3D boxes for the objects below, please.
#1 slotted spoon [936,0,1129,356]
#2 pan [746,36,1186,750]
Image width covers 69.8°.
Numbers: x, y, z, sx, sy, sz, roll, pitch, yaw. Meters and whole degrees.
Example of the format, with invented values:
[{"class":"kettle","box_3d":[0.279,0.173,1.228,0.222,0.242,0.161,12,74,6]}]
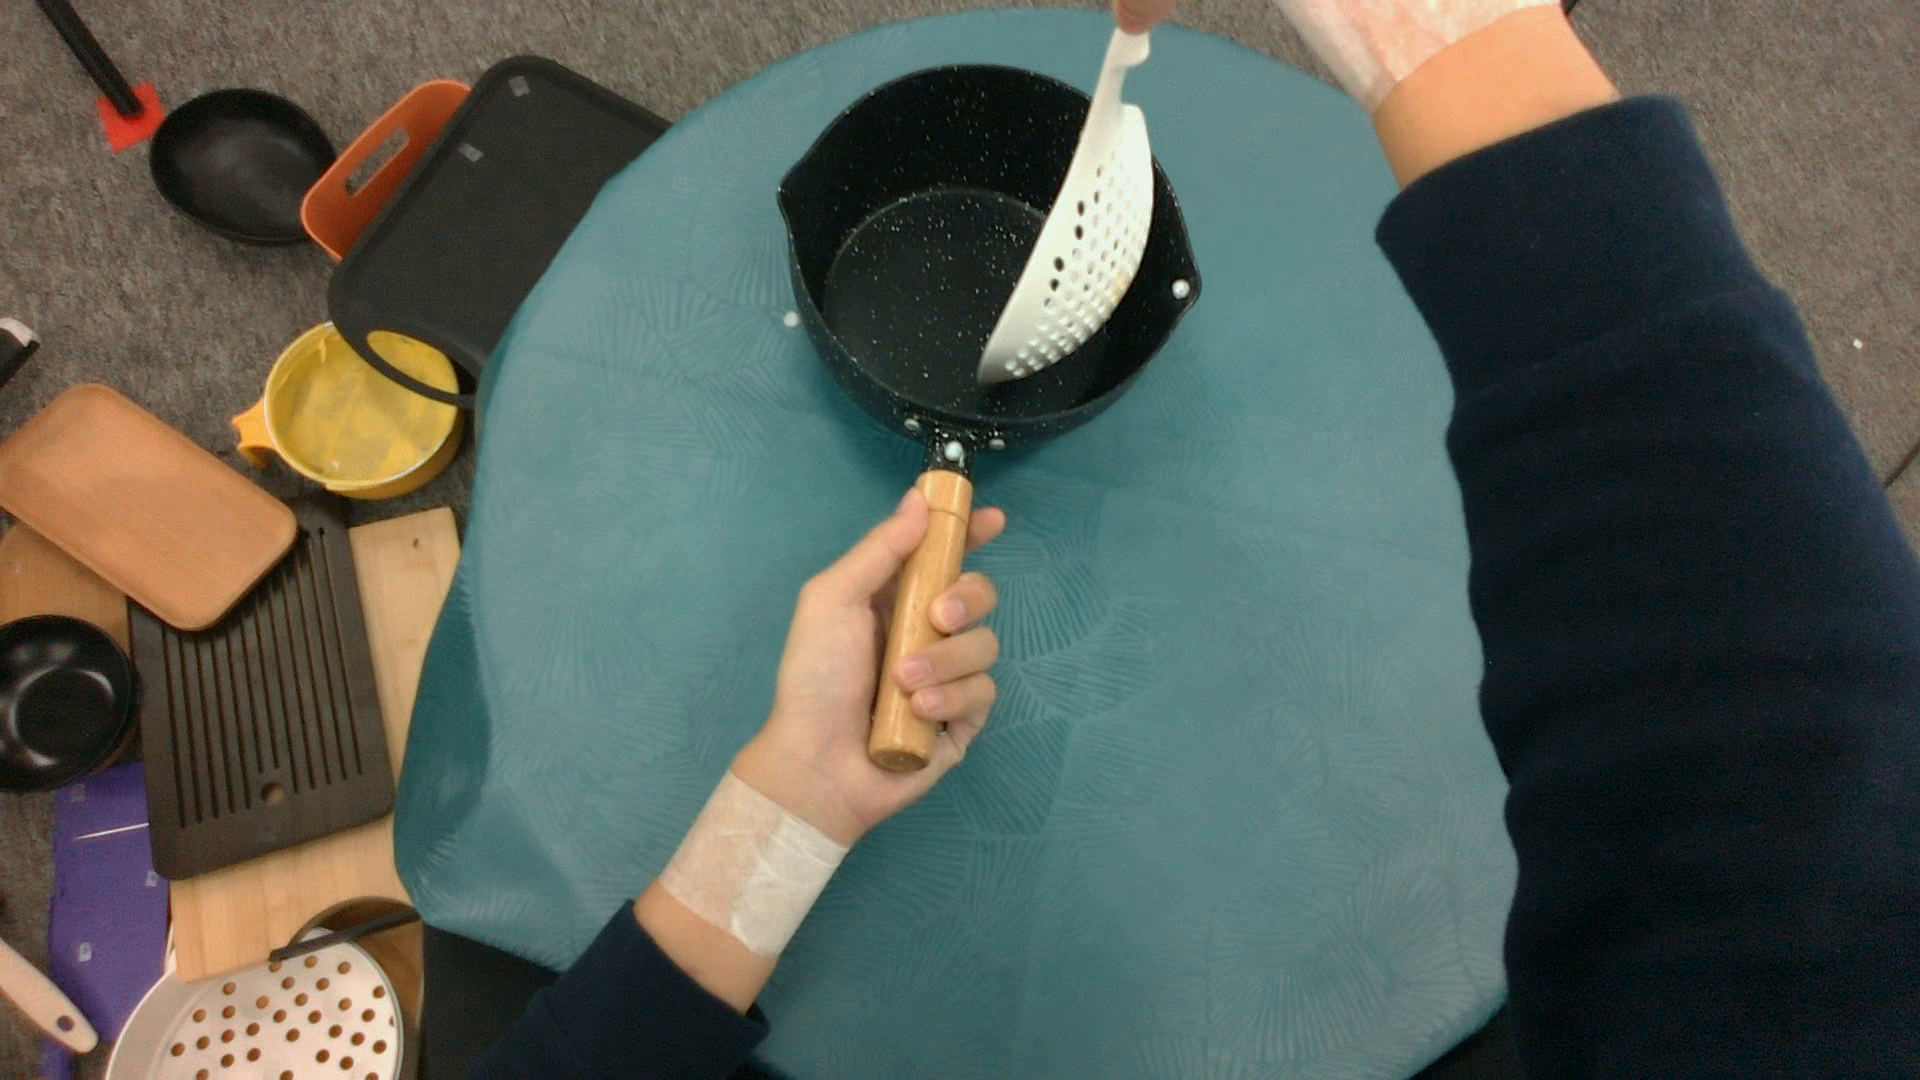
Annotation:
[{"class":"slotted spoon","box_3d":[0.051,-0.166,0.540,0.050,0.347,0.137,35,75,8]},{"class":"pan","box_3d":[-0.010,-0.066,0.630,0.207,0.108,0.344,10,71,-7]}]
